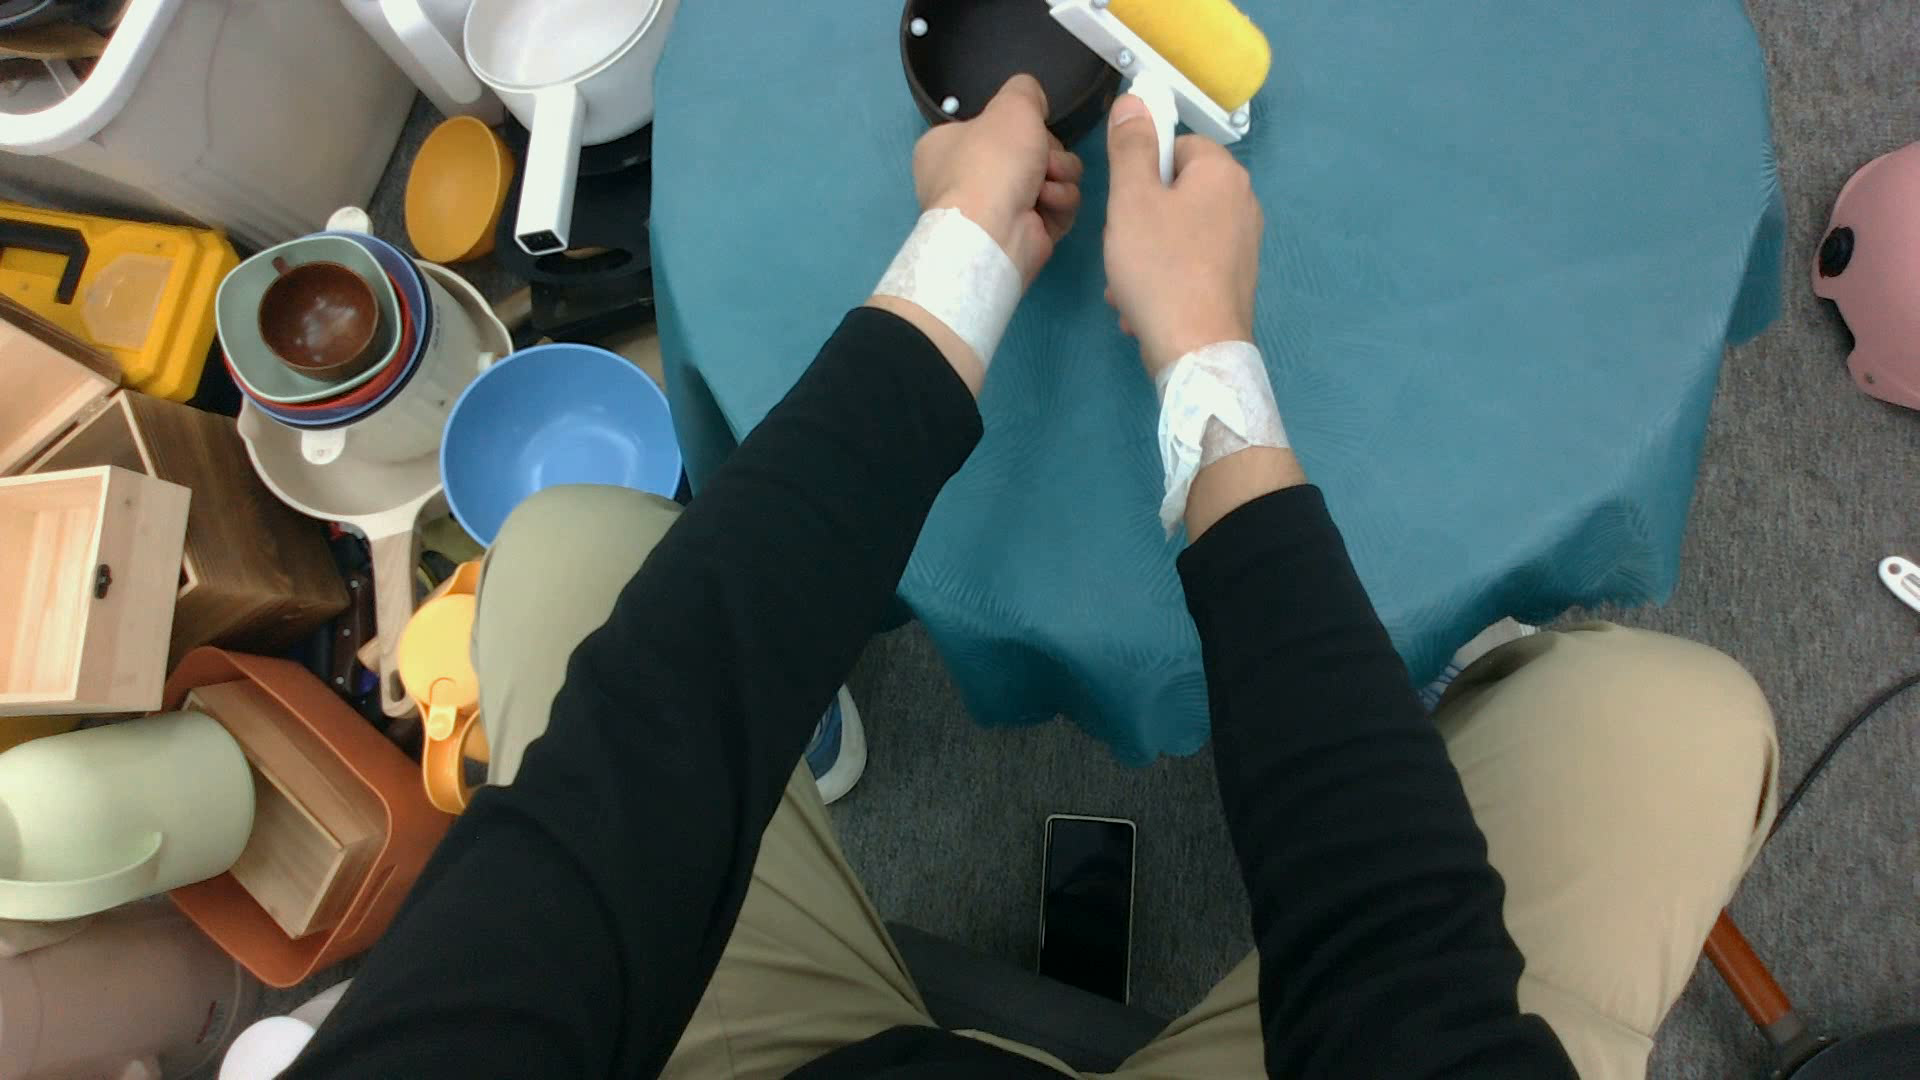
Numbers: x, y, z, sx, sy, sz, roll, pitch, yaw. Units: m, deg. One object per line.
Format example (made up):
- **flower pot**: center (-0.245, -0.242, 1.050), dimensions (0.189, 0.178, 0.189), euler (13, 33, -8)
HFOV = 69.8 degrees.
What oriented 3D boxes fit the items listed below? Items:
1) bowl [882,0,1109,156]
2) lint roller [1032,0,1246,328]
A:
- **bowl**: center (0.021, -0.258, 0.729), dimensions (0.118, 0.070, 0.118), euler (-1, 80, 7)
- **lint roller**: center (0.093, -0.196, 0.651), dimensions (0.051, 0.174, 0.192), euler (-21, 69, 33)
